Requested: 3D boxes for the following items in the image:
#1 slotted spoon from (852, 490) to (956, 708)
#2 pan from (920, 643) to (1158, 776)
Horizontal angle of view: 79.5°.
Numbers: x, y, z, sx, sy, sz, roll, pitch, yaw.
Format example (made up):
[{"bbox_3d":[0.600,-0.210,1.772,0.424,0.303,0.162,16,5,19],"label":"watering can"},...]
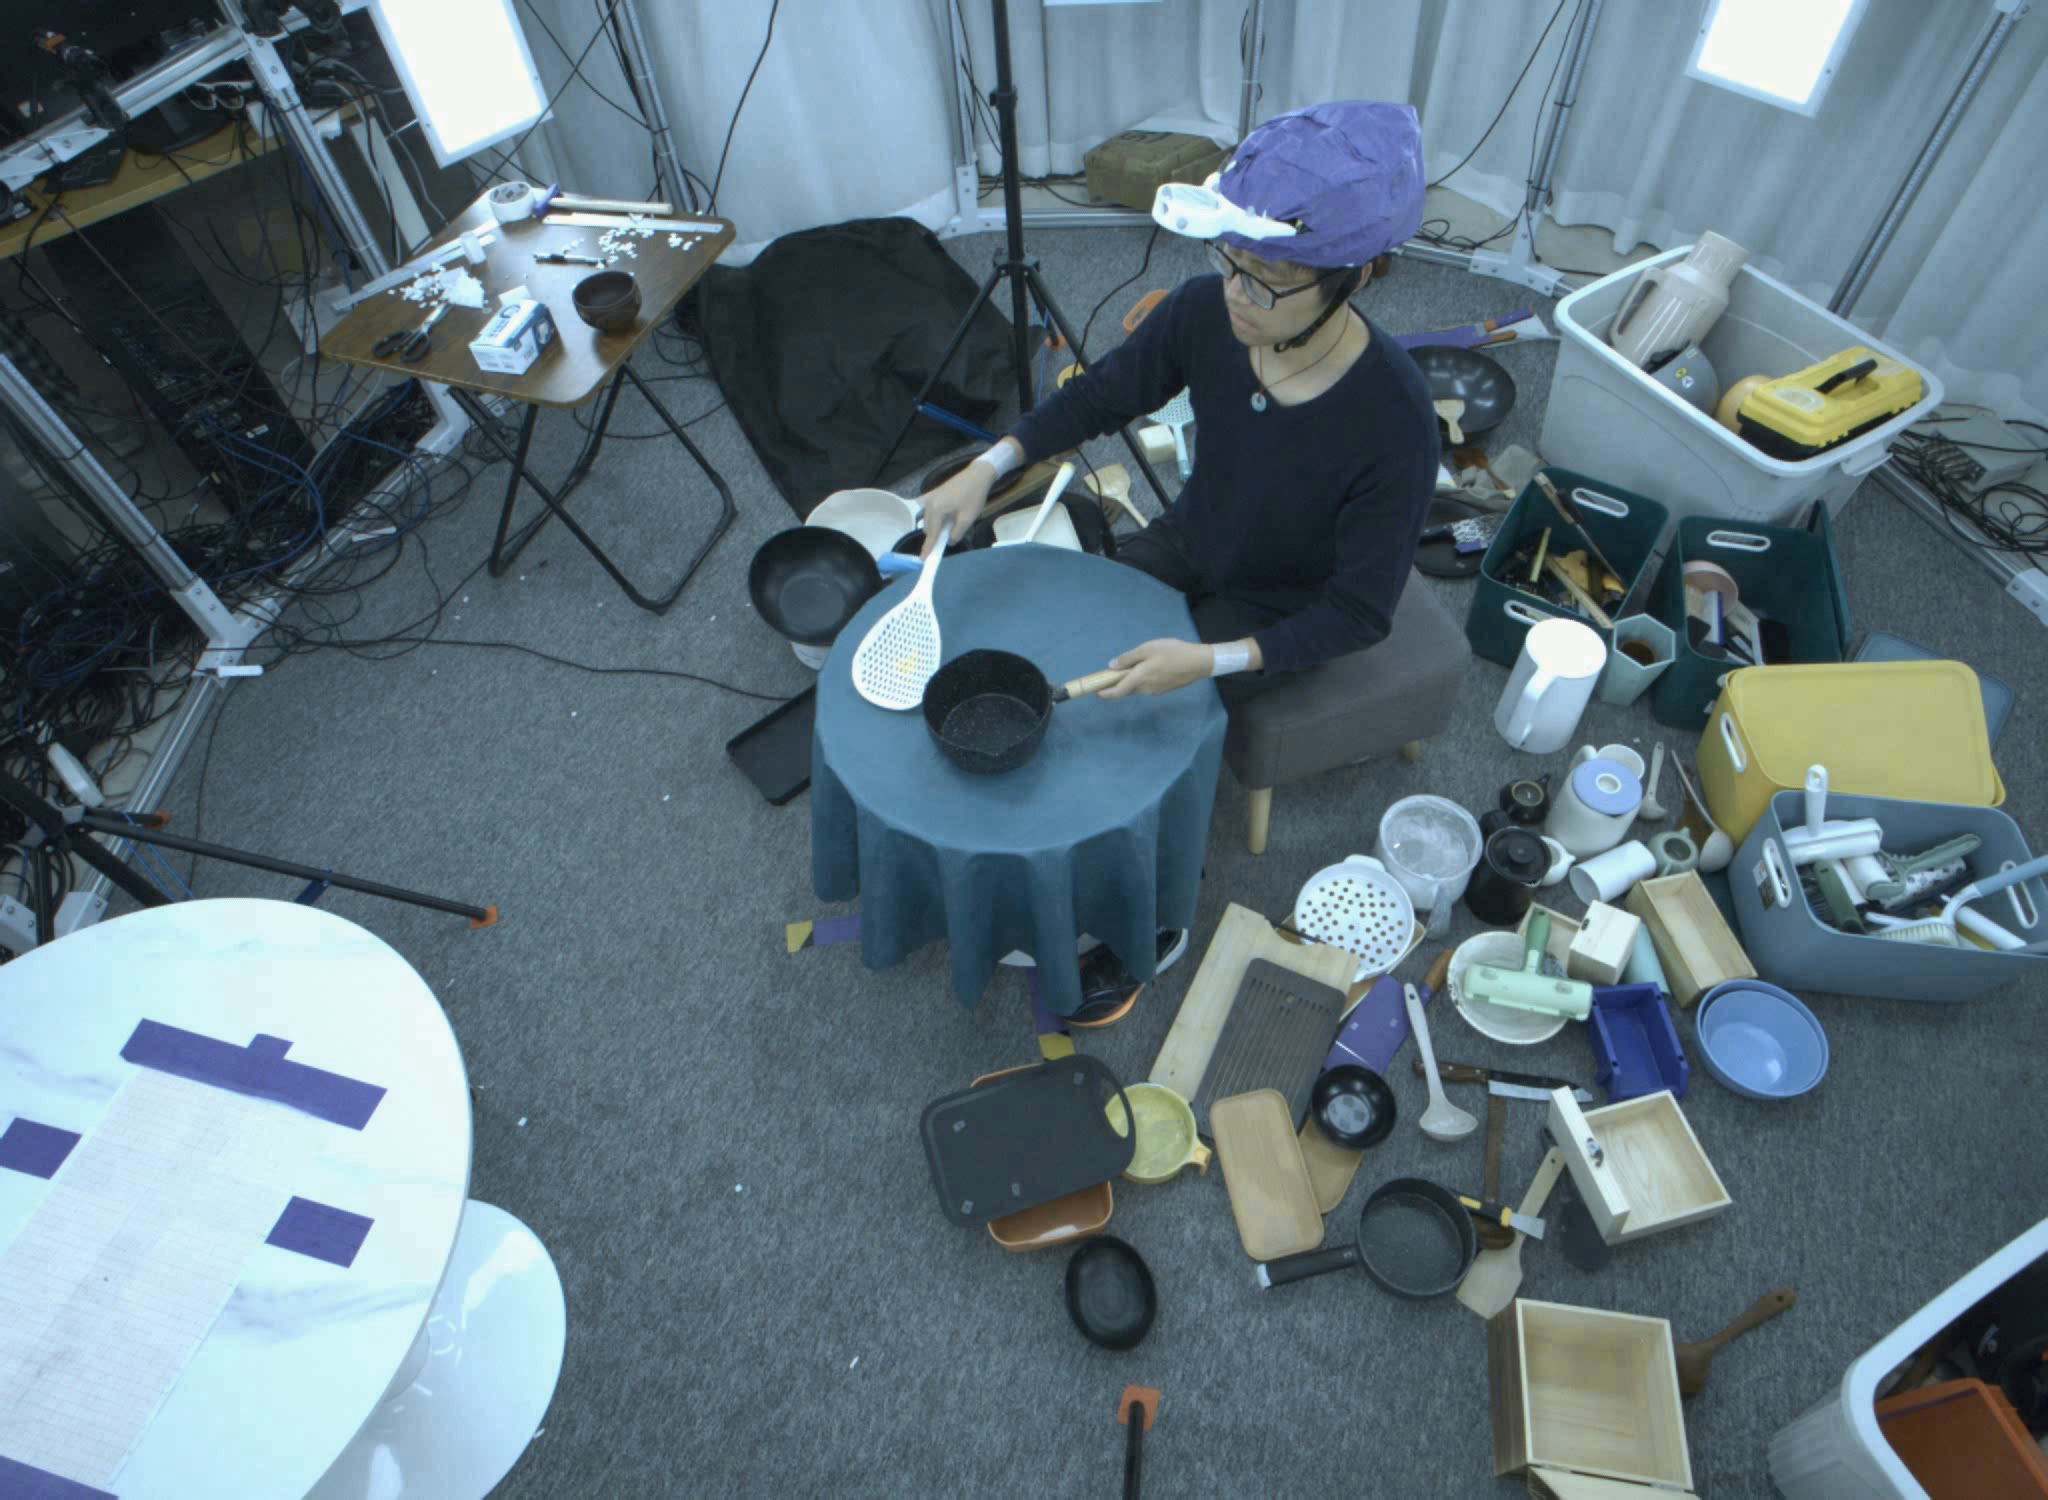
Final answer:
[{"bbox_3d":[-0.156,-0.232,1.850,0.135,0.051,0.348,16,91,13],"label":"slotted spoon"},{"bbox_3d":[0.025,-0.070,1.769,0.344,0.109,0.204,-11,54,-4],"label":"pan"}]
